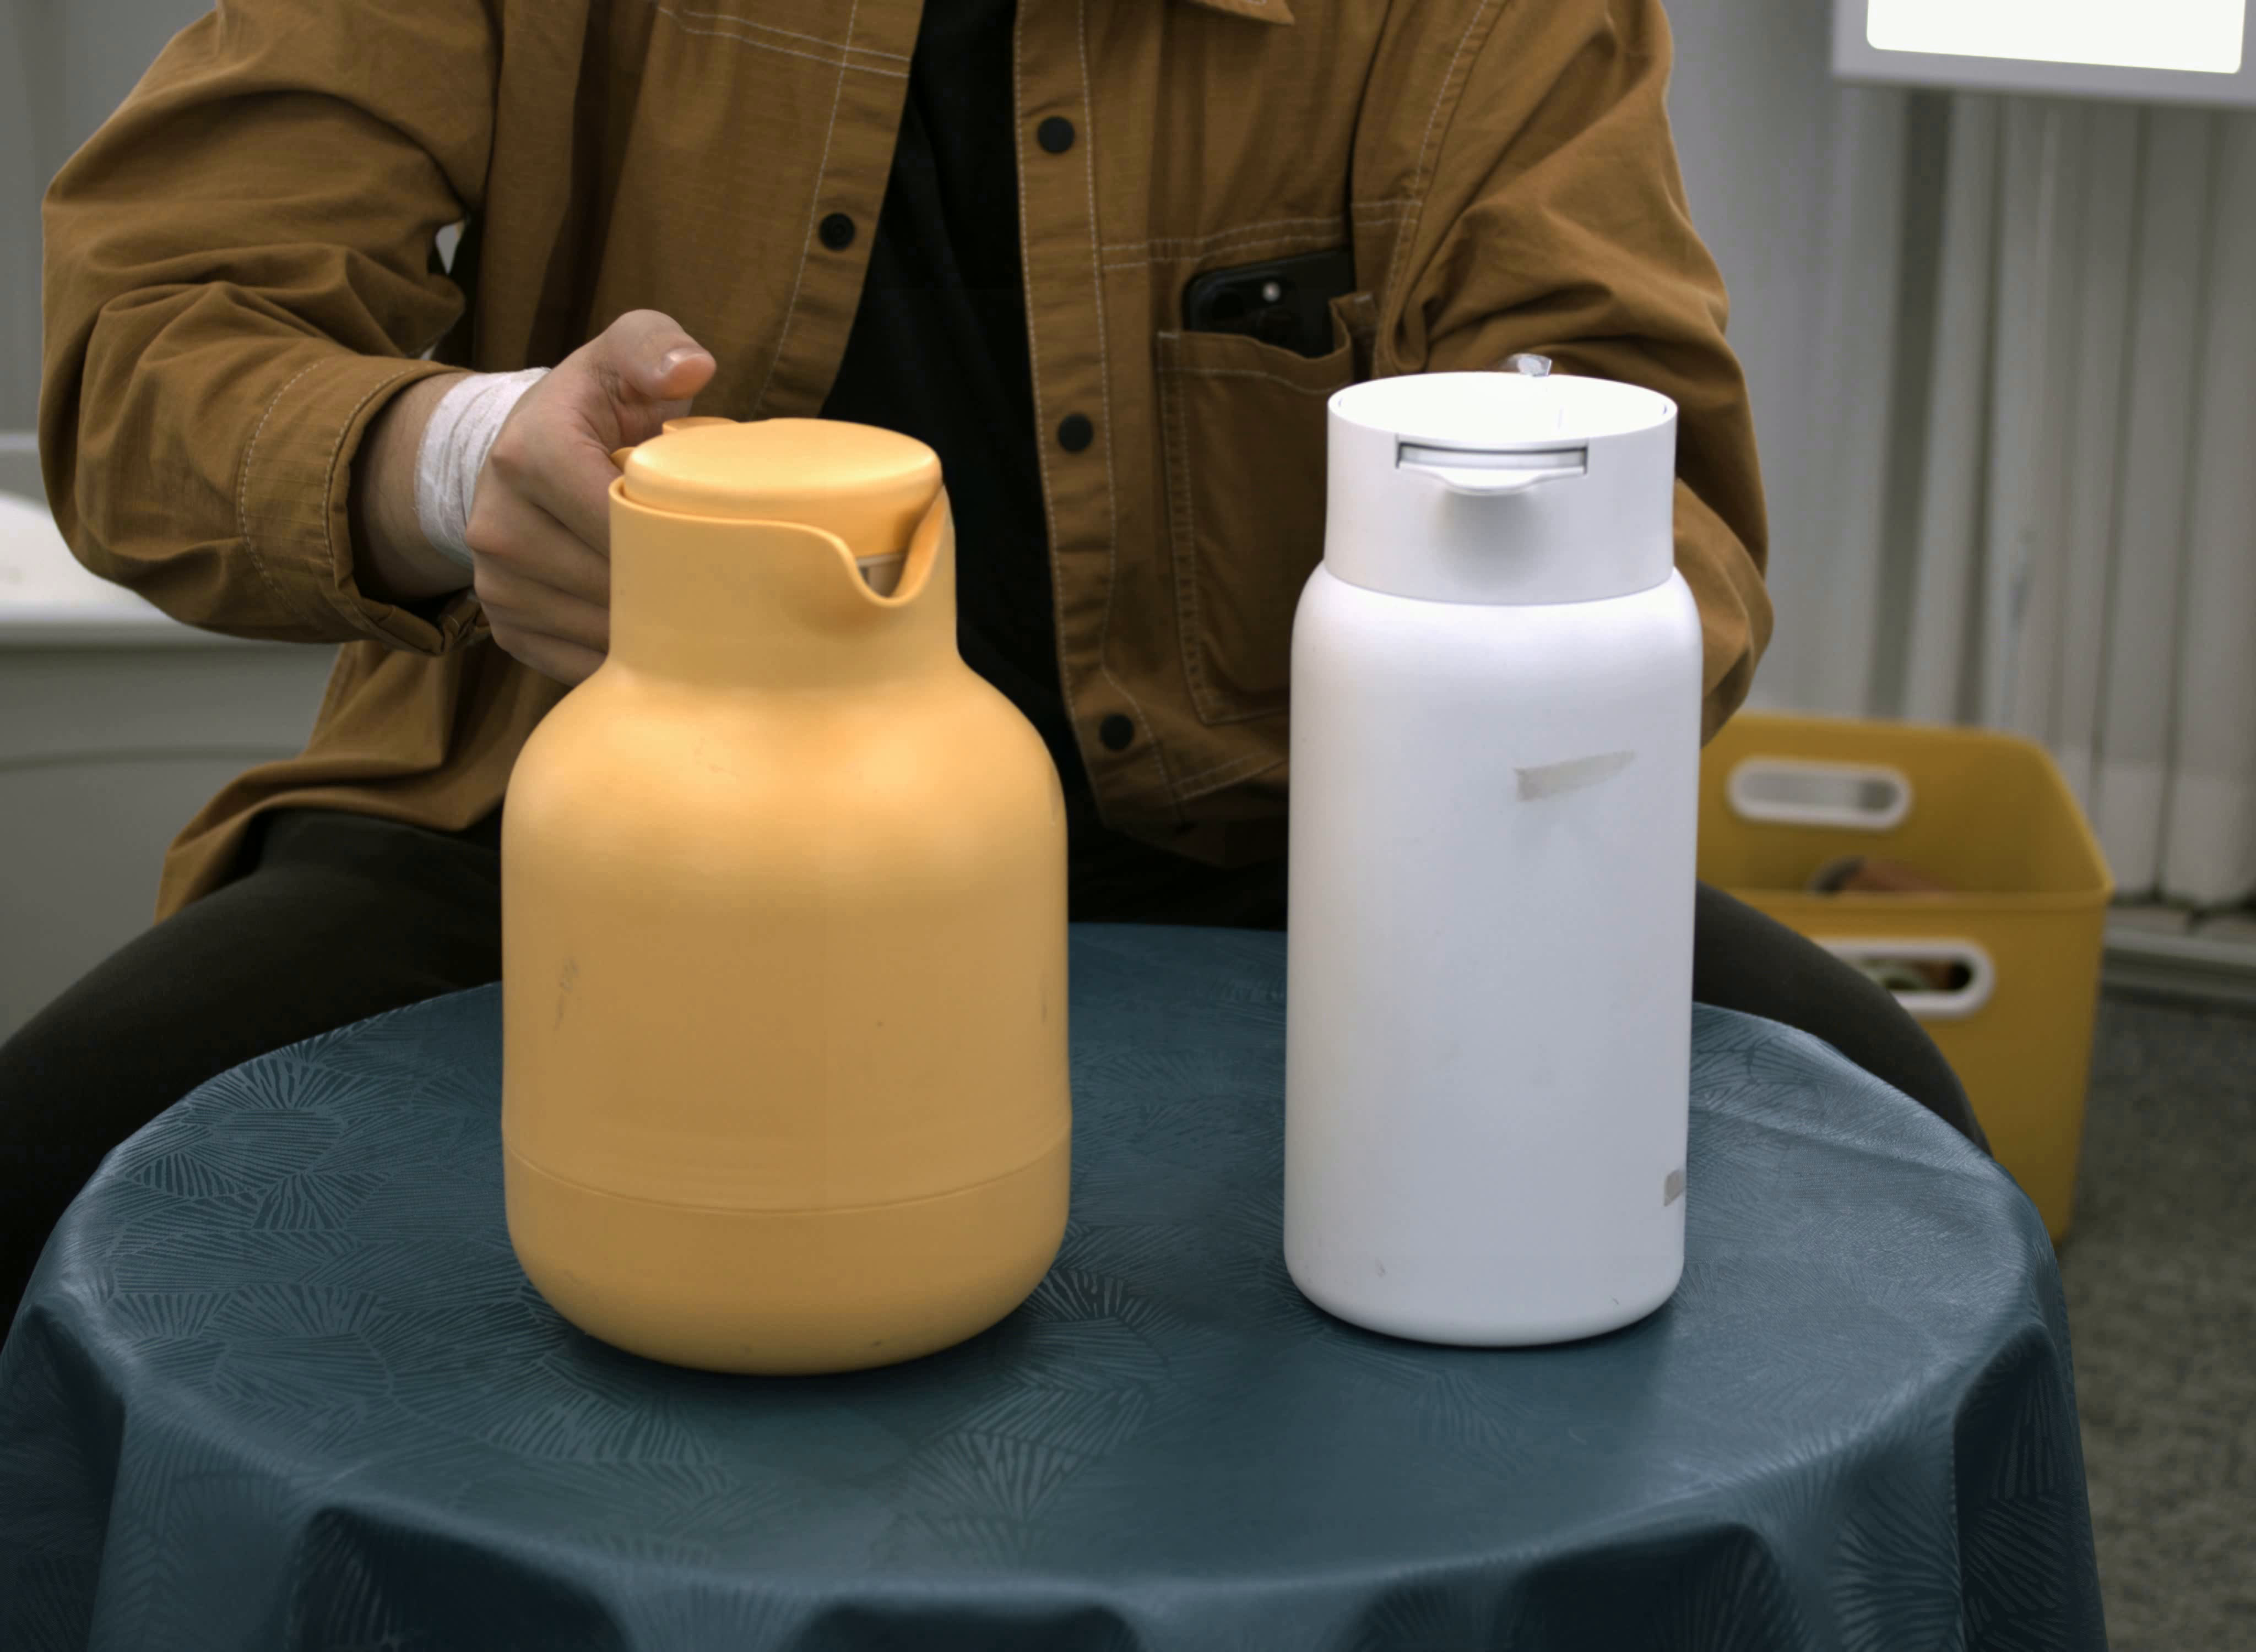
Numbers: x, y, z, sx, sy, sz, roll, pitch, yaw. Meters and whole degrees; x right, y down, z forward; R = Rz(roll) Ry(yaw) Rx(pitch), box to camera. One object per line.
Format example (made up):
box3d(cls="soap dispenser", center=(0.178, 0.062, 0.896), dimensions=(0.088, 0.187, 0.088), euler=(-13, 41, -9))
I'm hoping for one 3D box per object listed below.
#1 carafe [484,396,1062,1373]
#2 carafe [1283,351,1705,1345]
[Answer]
box3d(cls="carafe", center=(-0.106, 0.008, 1.500), dimensions=(0.164, 0.262, 0.200), euler=(-4, 18, -26))
box3d(cls="carafe", center=(0.105, 0.002, 1.522), dimensions=(0.123, 0.271, 0.172), euler=(0, 16, 7))
